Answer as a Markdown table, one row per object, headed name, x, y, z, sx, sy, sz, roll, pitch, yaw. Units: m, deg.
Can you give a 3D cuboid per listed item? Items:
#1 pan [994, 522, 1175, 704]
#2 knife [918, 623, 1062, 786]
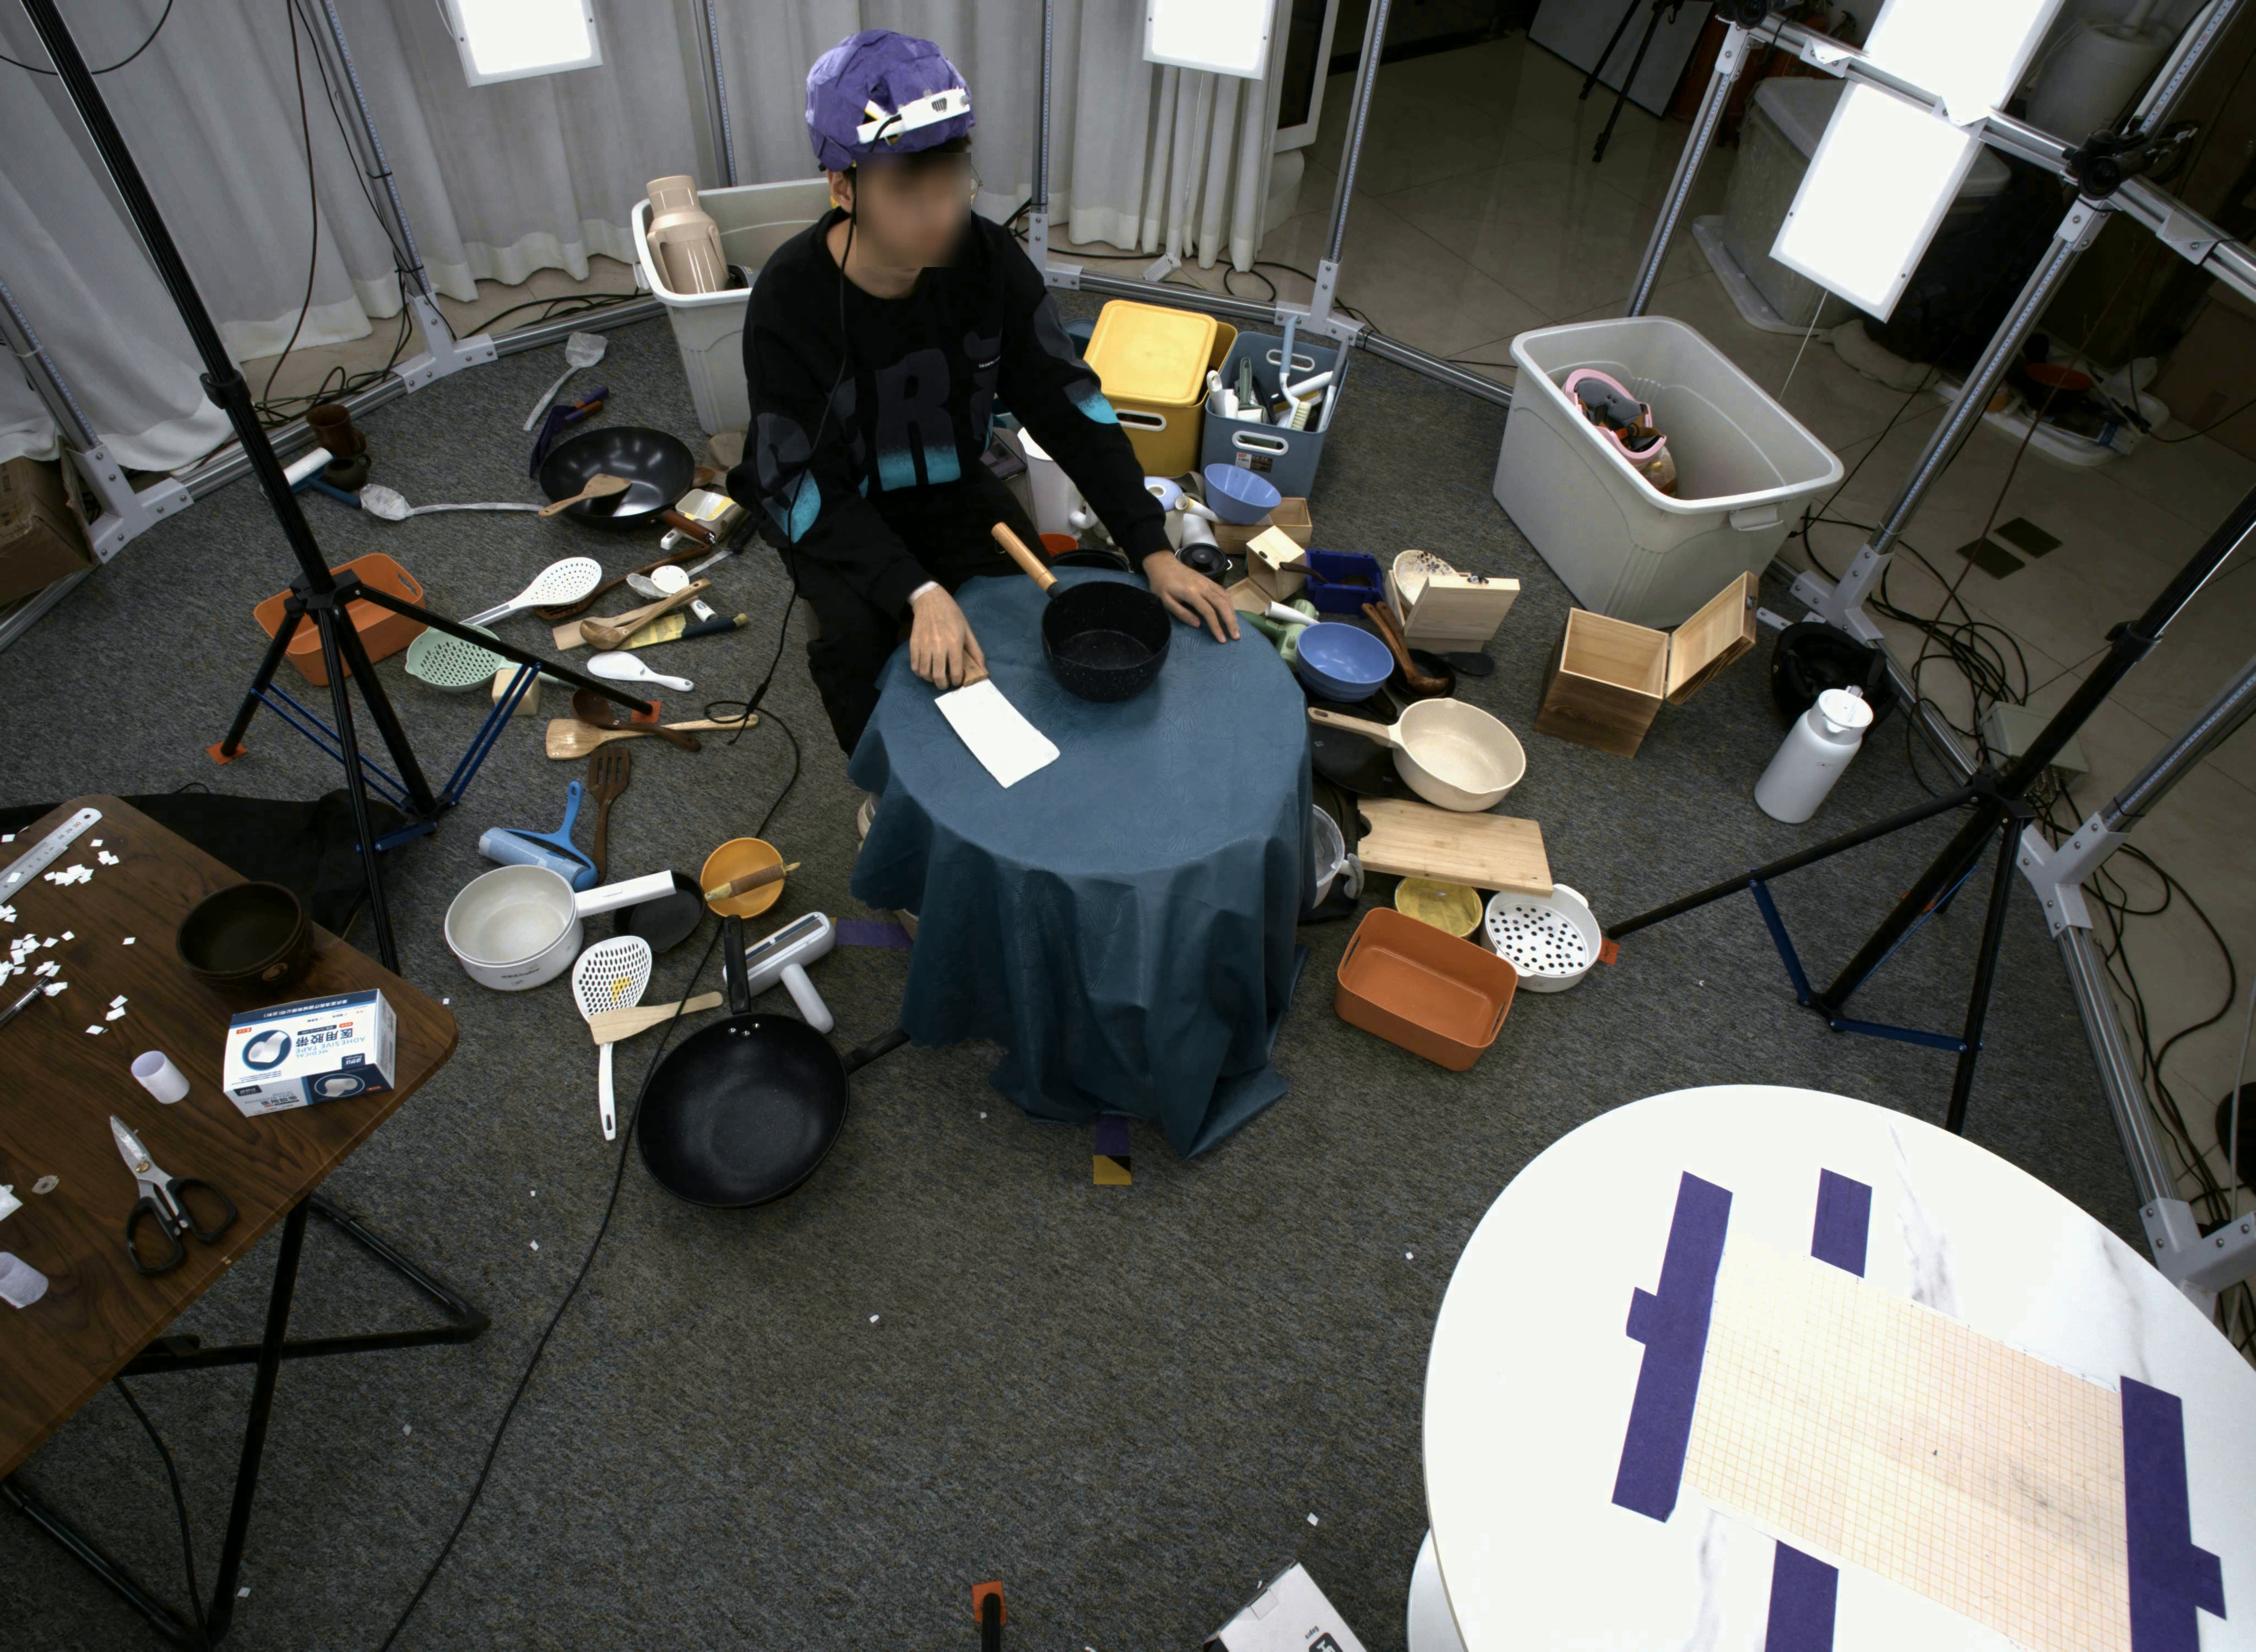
| name | x | y | z | sx | sy | sz | roll | pitch | yaw |
| --- | --- | --- | --- | --- | --- | --- | --- | --- | --- |
| pan | -0.081 | -0.312 | 1.863 | 0.209 | 0.105 | 0.348 | -34 | 60 | -27 |
| knife | -0.205 | -0.177 | 1.797 | 0.114 | 0.021 | 0.322 | -23 | 57 | -22 |
